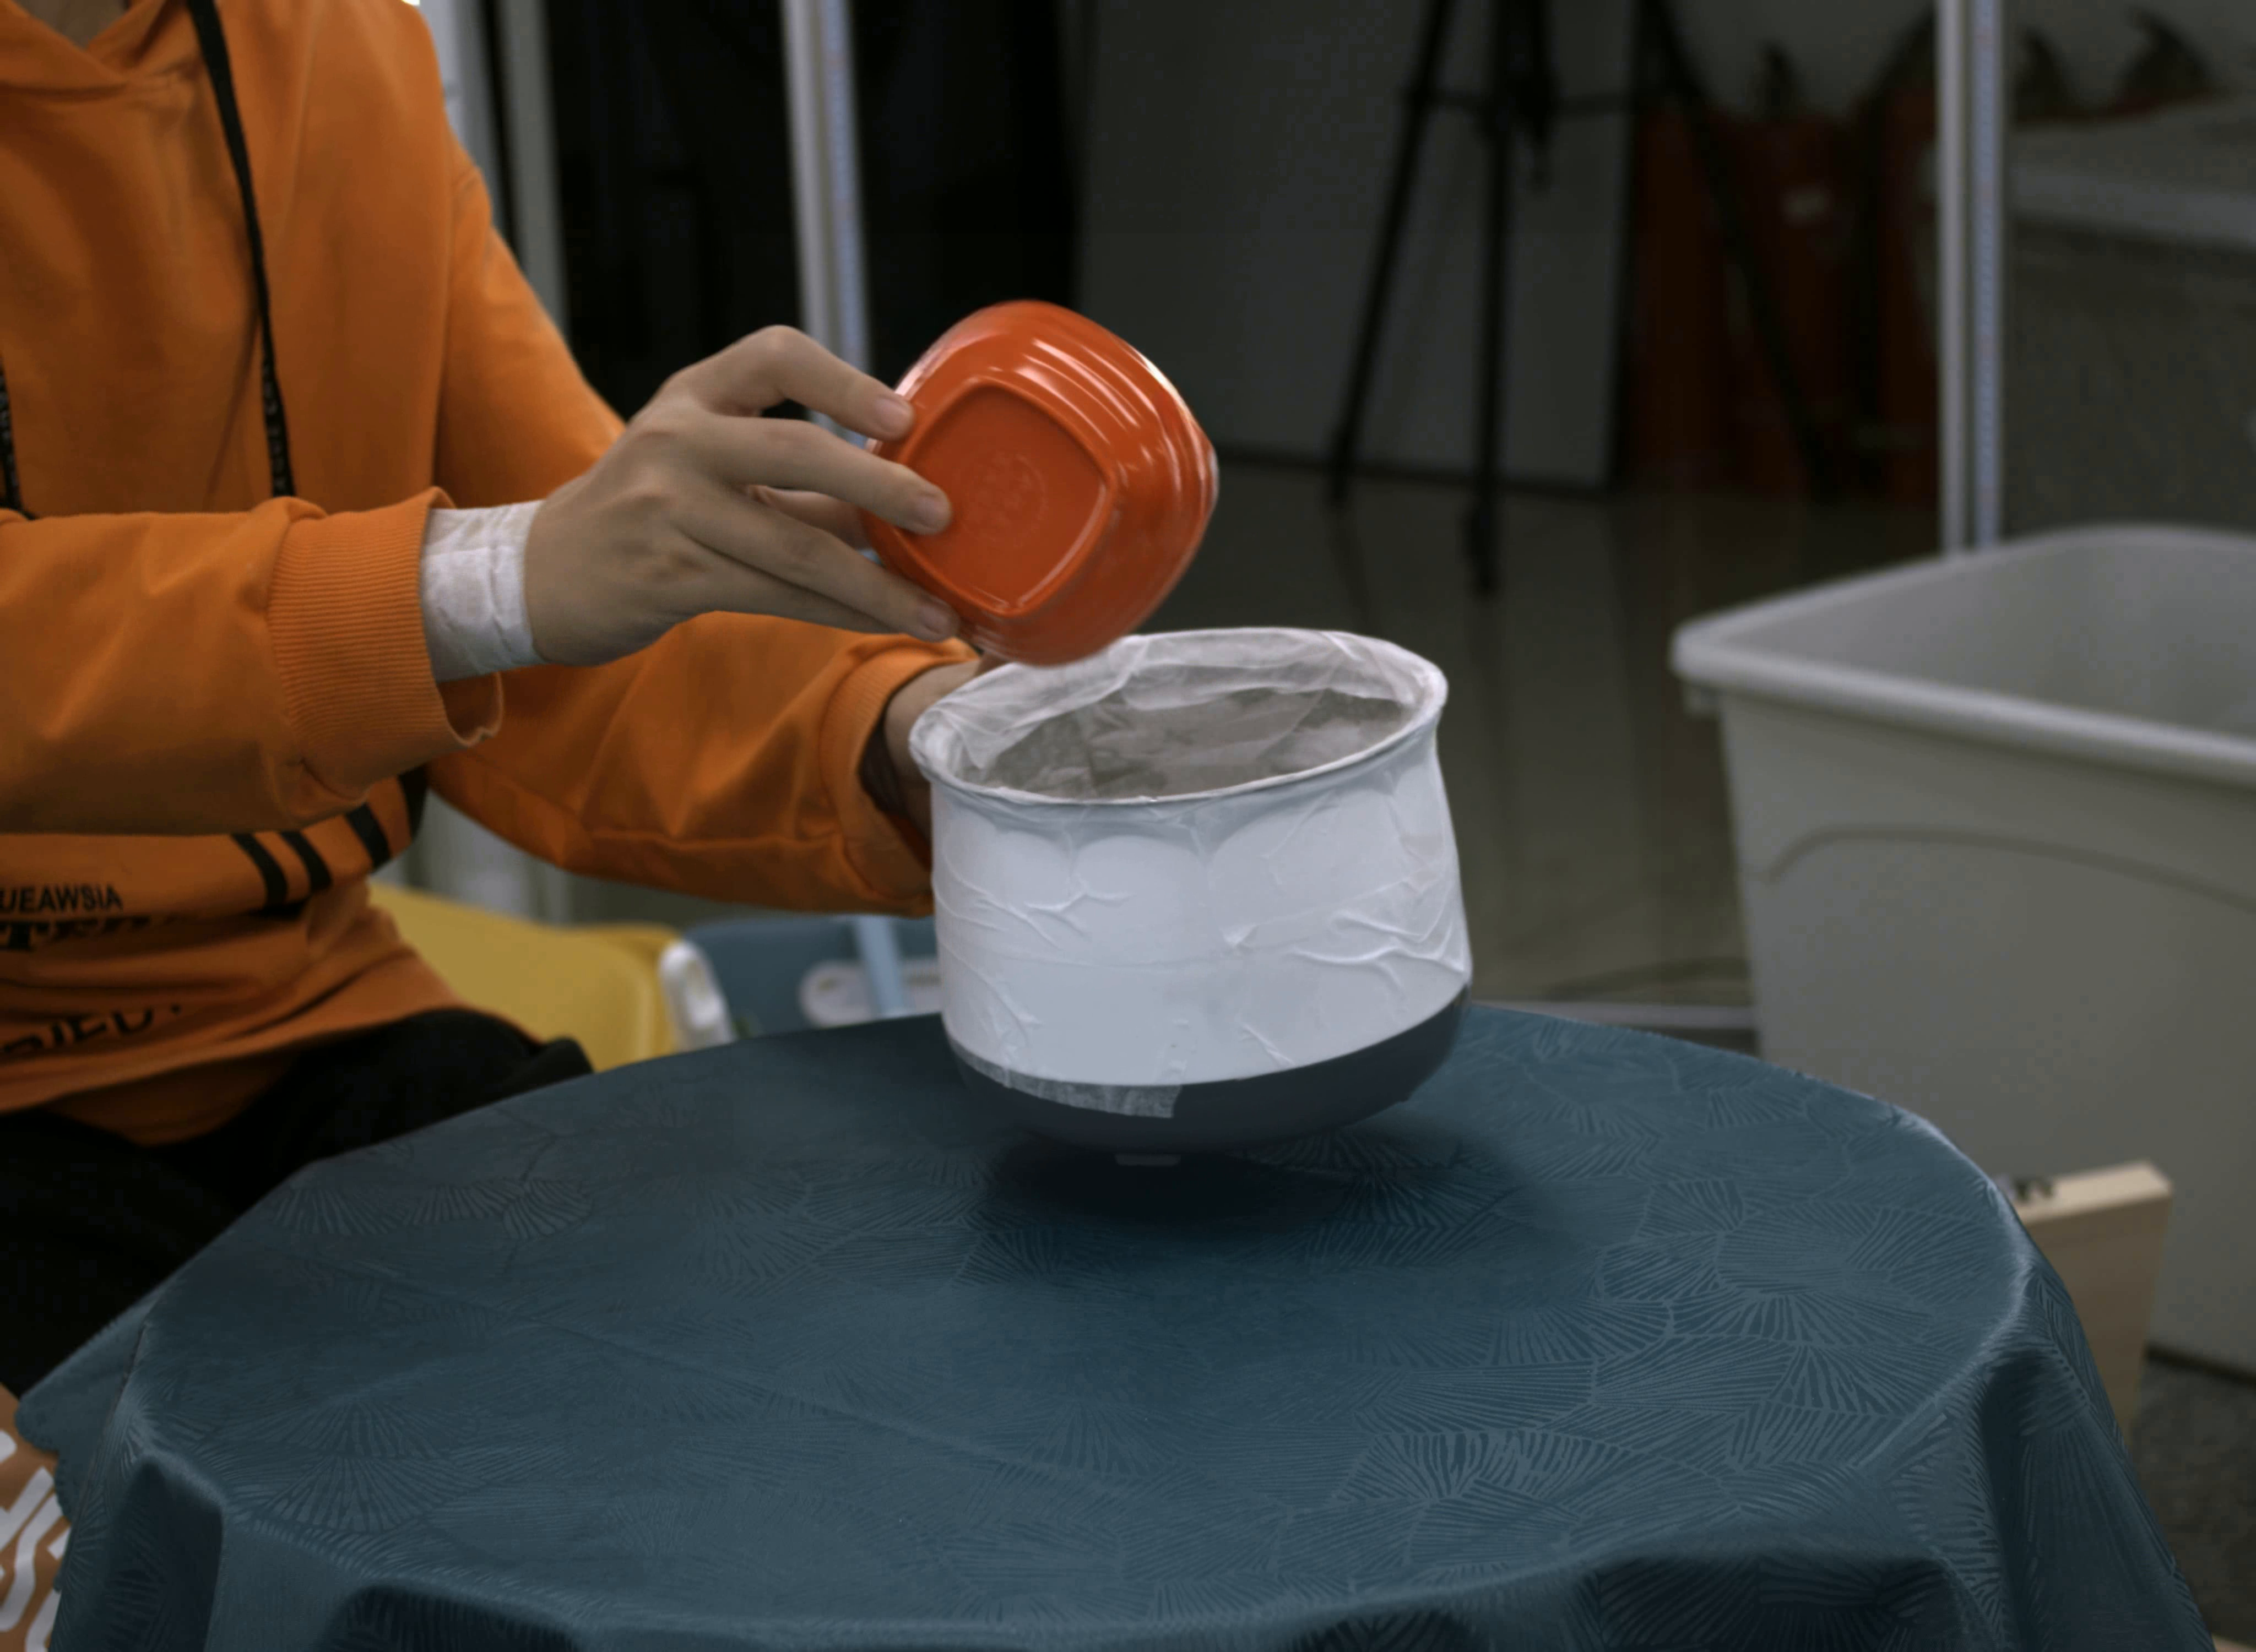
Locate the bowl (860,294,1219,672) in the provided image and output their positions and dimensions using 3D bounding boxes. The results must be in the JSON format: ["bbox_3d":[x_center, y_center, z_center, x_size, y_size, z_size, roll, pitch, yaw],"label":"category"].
[{"bbox_3d":[-0.034,-0.106,1.704,0.118,0.120,0.051,0,7,15],"label":"bowl"}]

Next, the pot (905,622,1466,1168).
[{"bbox_3d":[0.008,0.015,1.787,0.175,0.138,0.236,-14,19,-23],"label":"pot"}]
